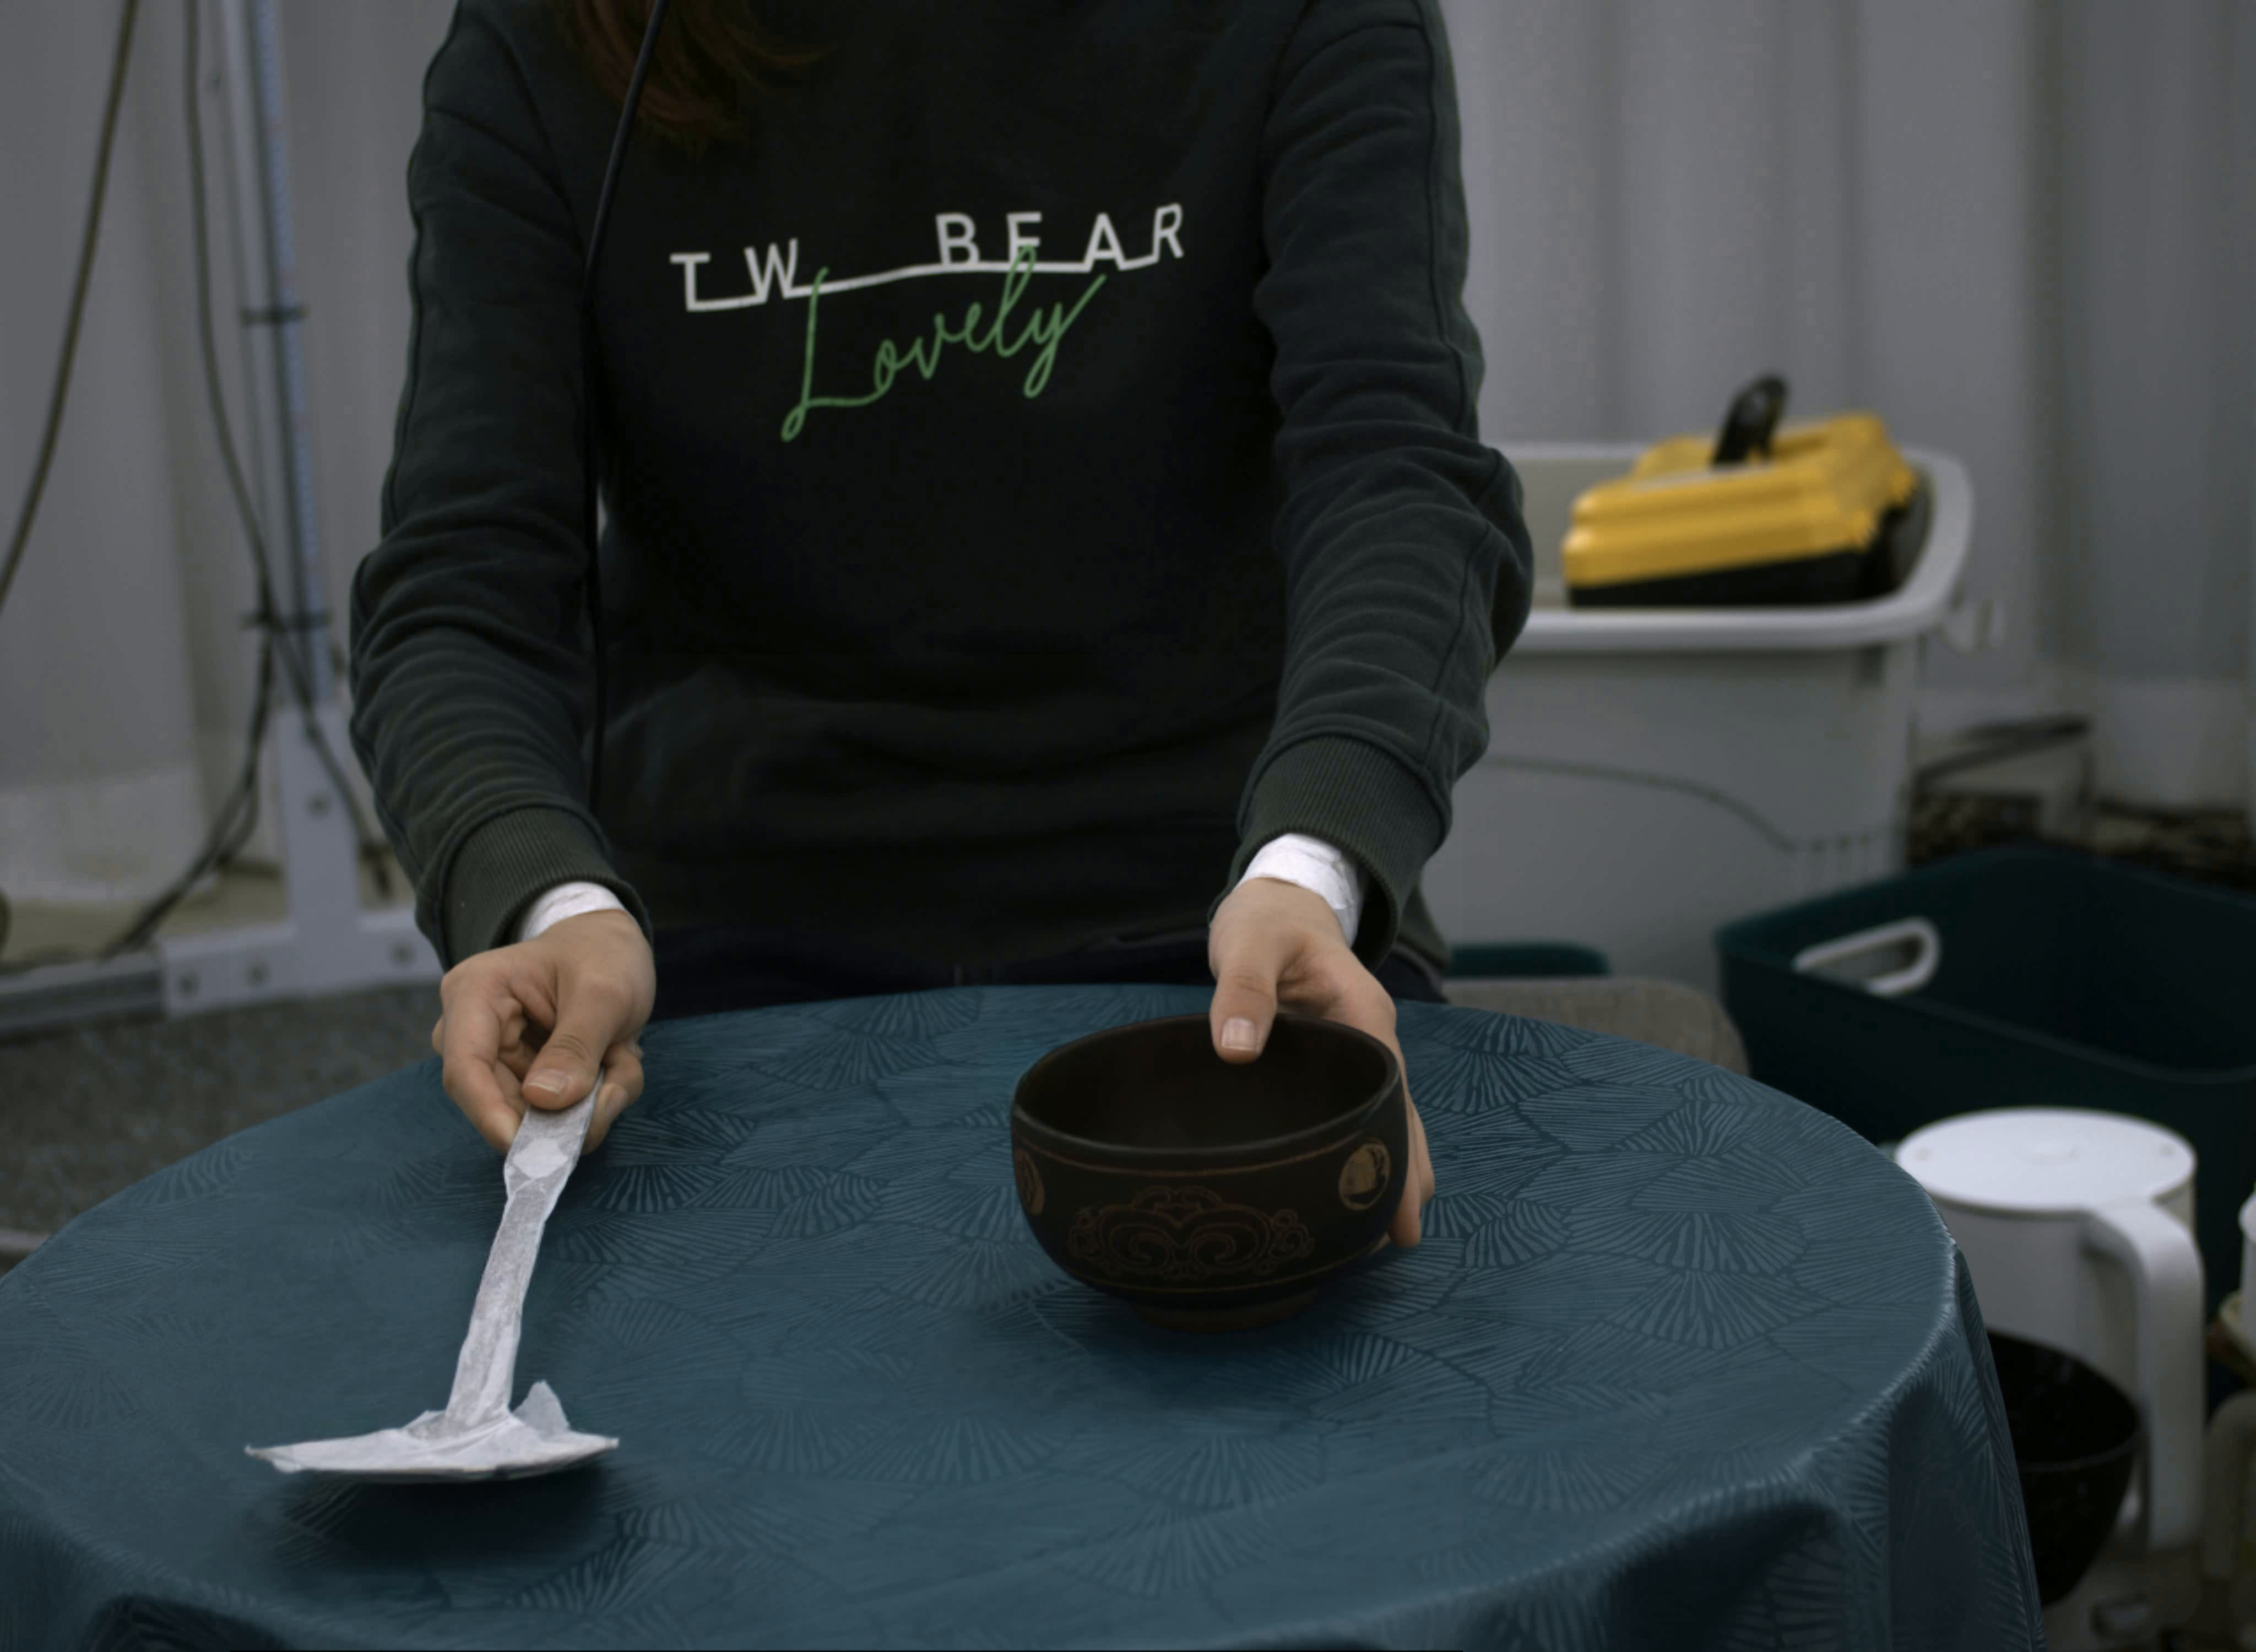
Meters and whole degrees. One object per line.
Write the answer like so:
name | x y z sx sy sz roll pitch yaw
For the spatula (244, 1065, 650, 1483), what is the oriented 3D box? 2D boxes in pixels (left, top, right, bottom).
spatula | -0.177 0.123 1.606 0.098 0.044 0.368 -3 20 4

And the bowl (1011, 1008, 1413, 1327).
bowl | 0.025 0.105 1.602 0.117 0.069 0.119 -3 17 1
